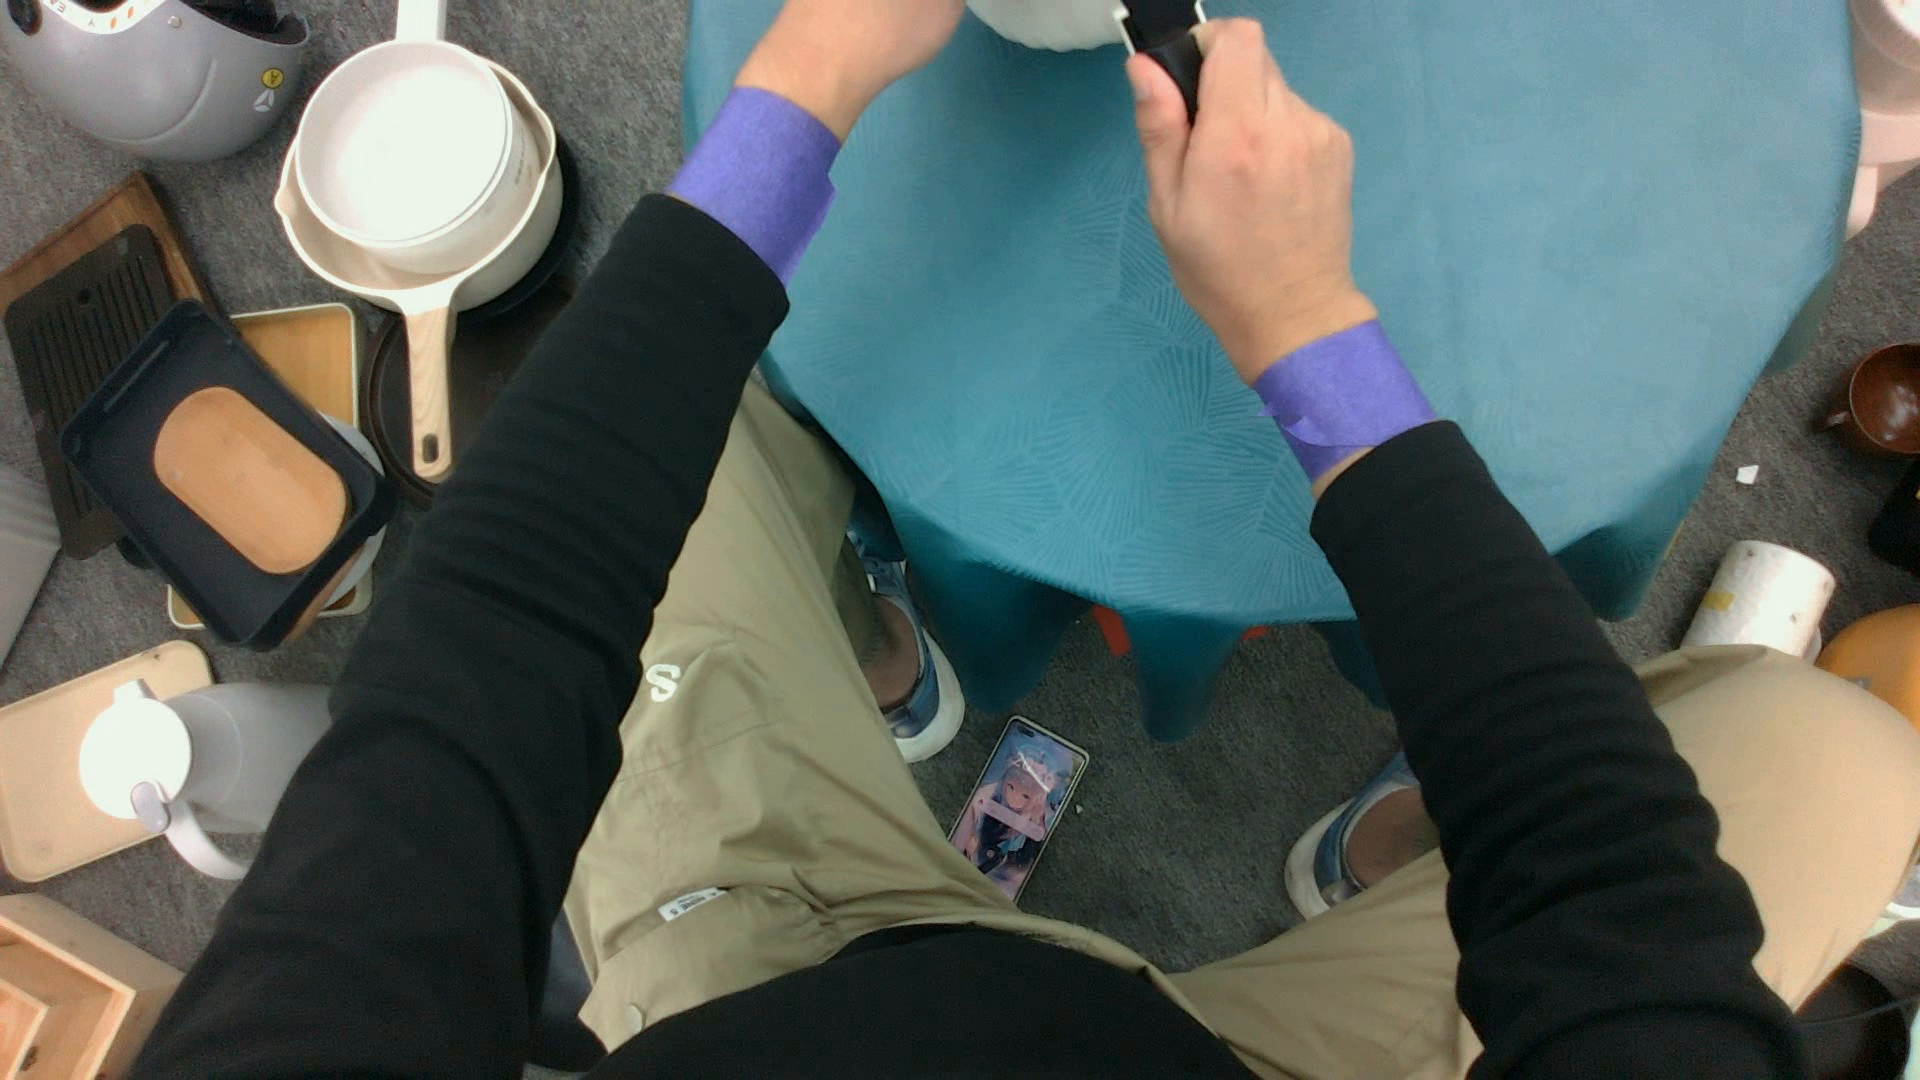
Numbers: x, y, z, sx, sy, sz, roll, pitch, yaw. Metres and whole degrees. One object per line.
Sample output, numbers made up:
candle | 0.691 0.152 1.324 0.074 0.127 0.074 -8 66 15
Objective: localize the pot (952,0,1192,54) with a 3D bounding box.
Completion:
pot | 0.049 -0.338 0.653 0.240 0.142 0.191 -22 54 15

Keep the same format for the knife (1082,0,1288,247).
knife | 0.065 -0.229 0.541 0.021 0.302 0.081 5 57 42
